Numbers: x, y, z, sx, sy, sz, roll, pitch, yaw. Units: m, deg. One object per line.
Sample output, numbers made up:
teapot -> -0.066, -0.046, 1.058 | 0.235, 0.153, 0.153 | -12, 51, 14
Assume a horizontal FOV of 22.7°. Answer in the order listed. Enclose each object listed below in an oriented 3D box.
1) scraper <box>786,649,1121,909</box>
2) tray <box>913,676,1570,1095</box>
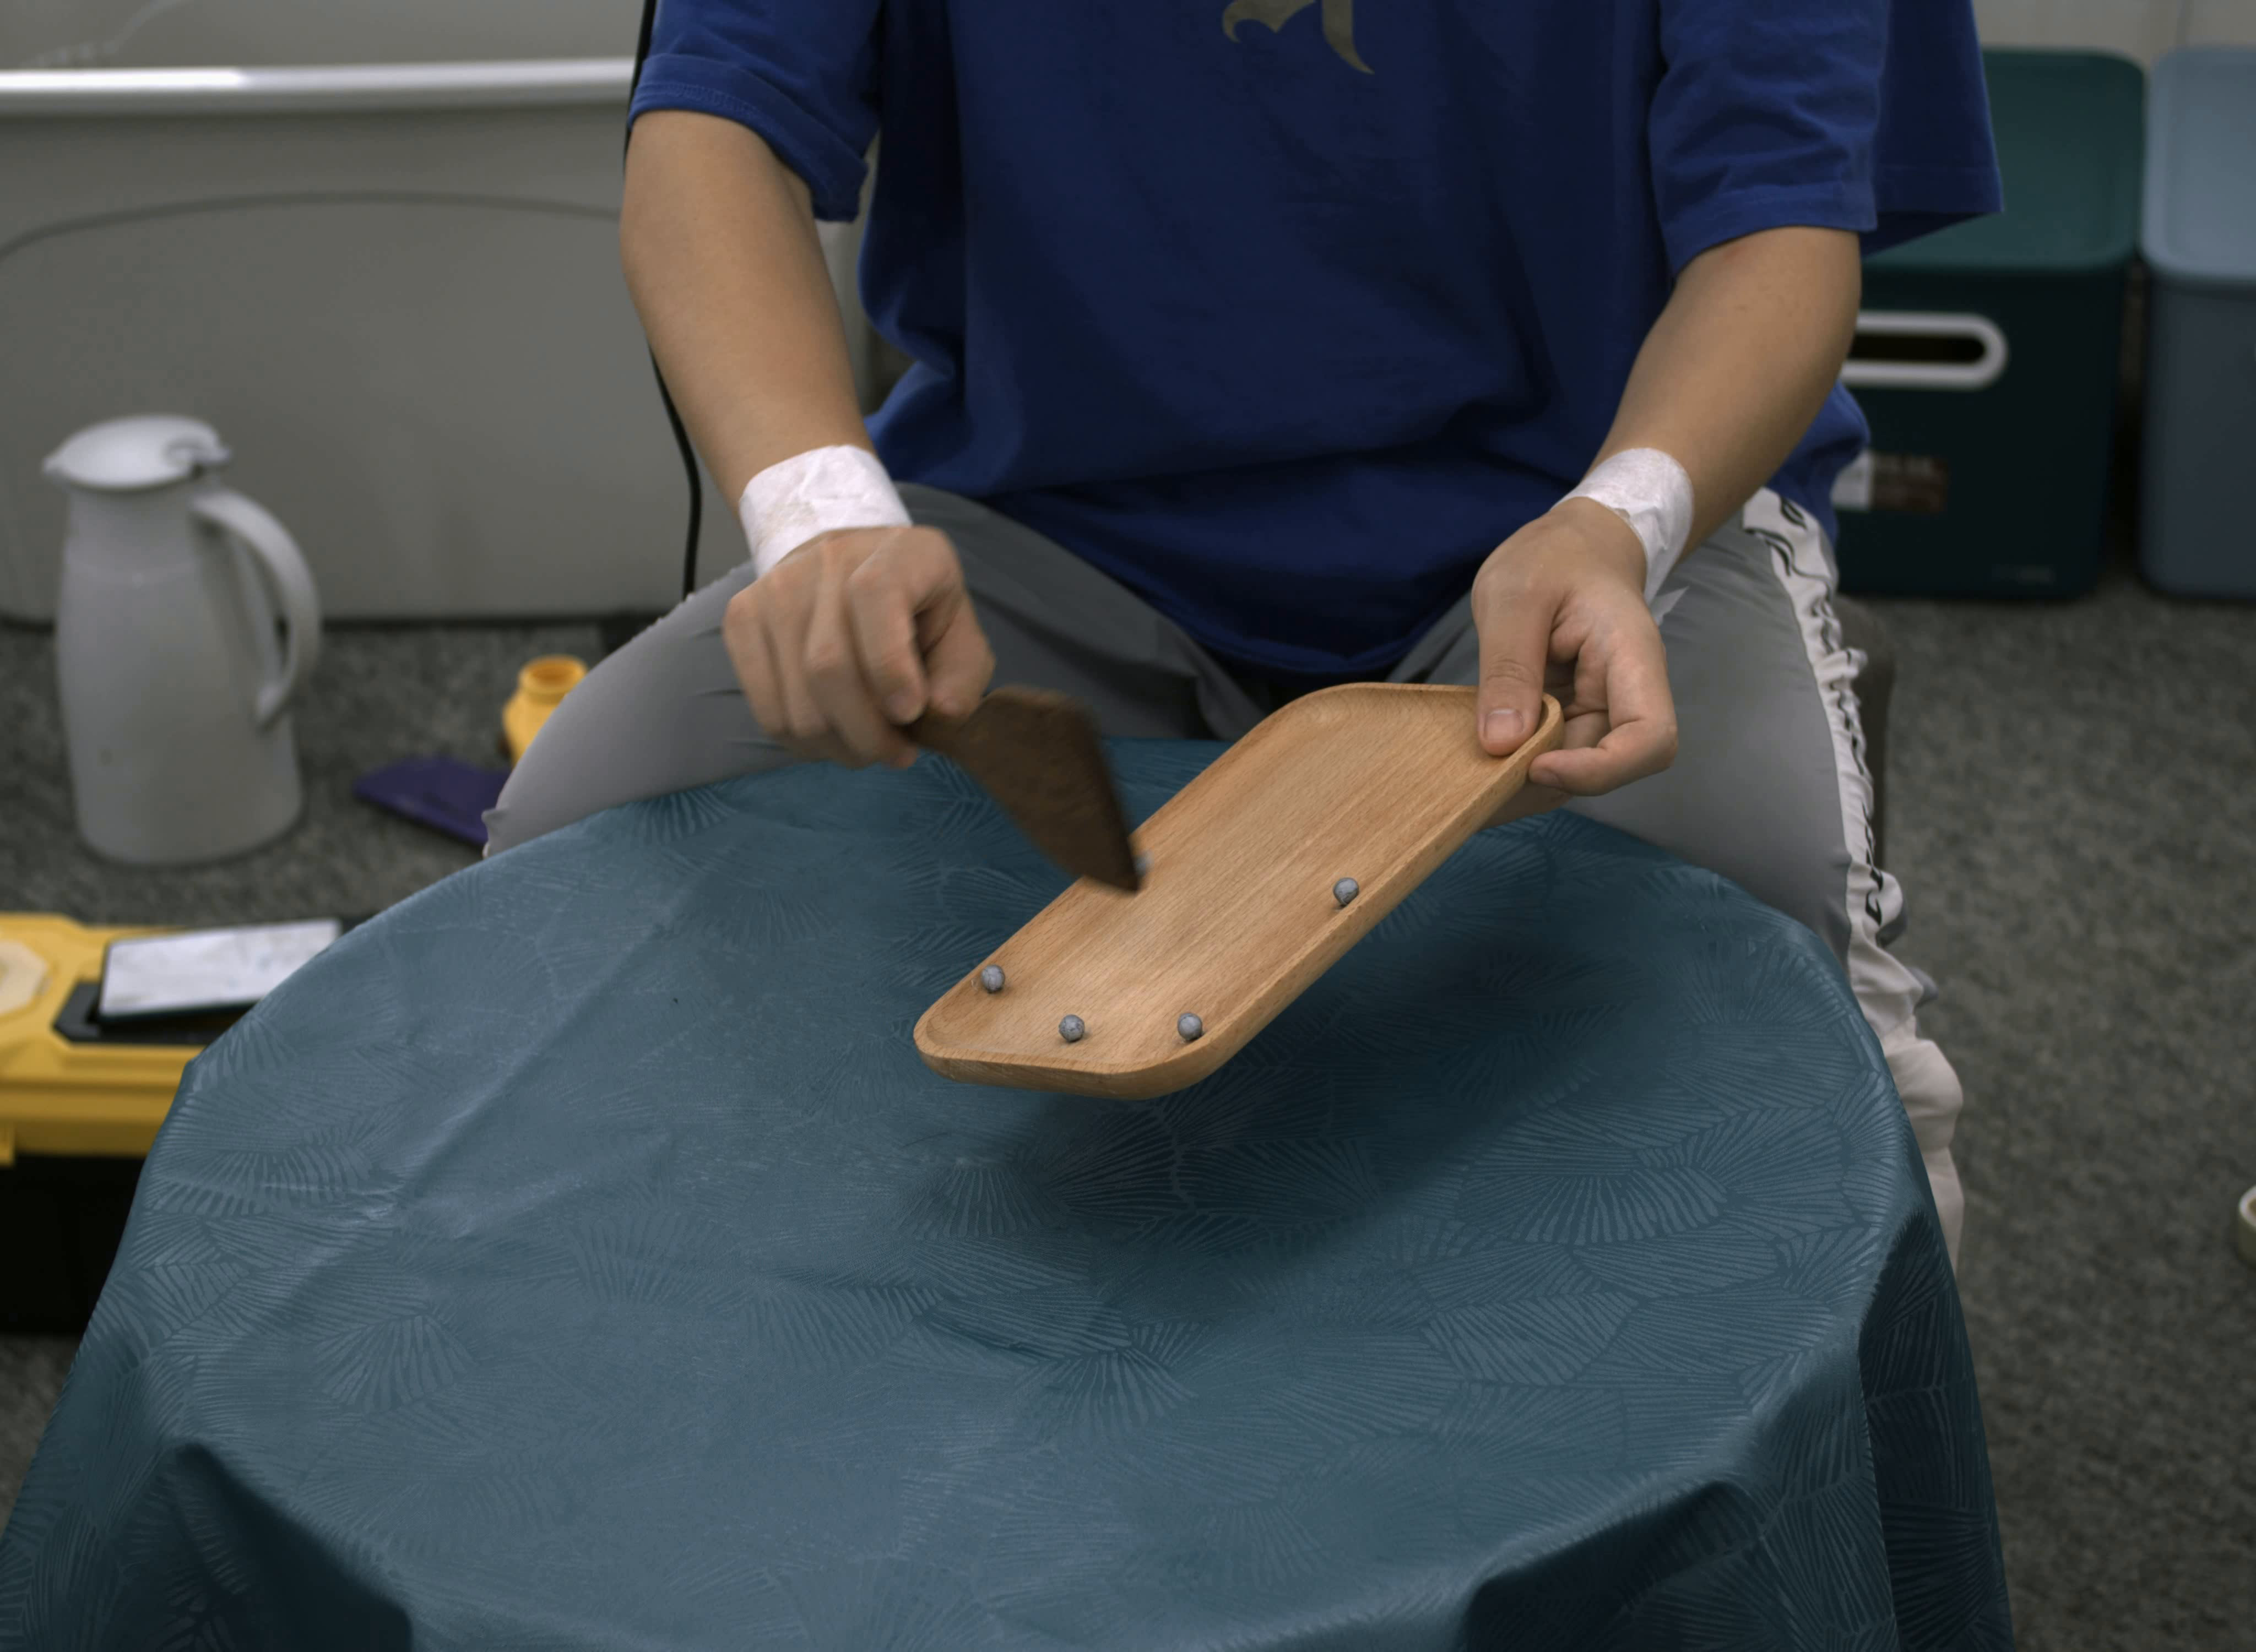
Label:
scraper -> -0.064, -0.026, 1.882 | 0.011, 0.075, 0.211 | -28, 26, -21
tray -> 0.041, 0.017, 1.887 | 0.129, 0.022, 0.254 | 6, 33, 40
